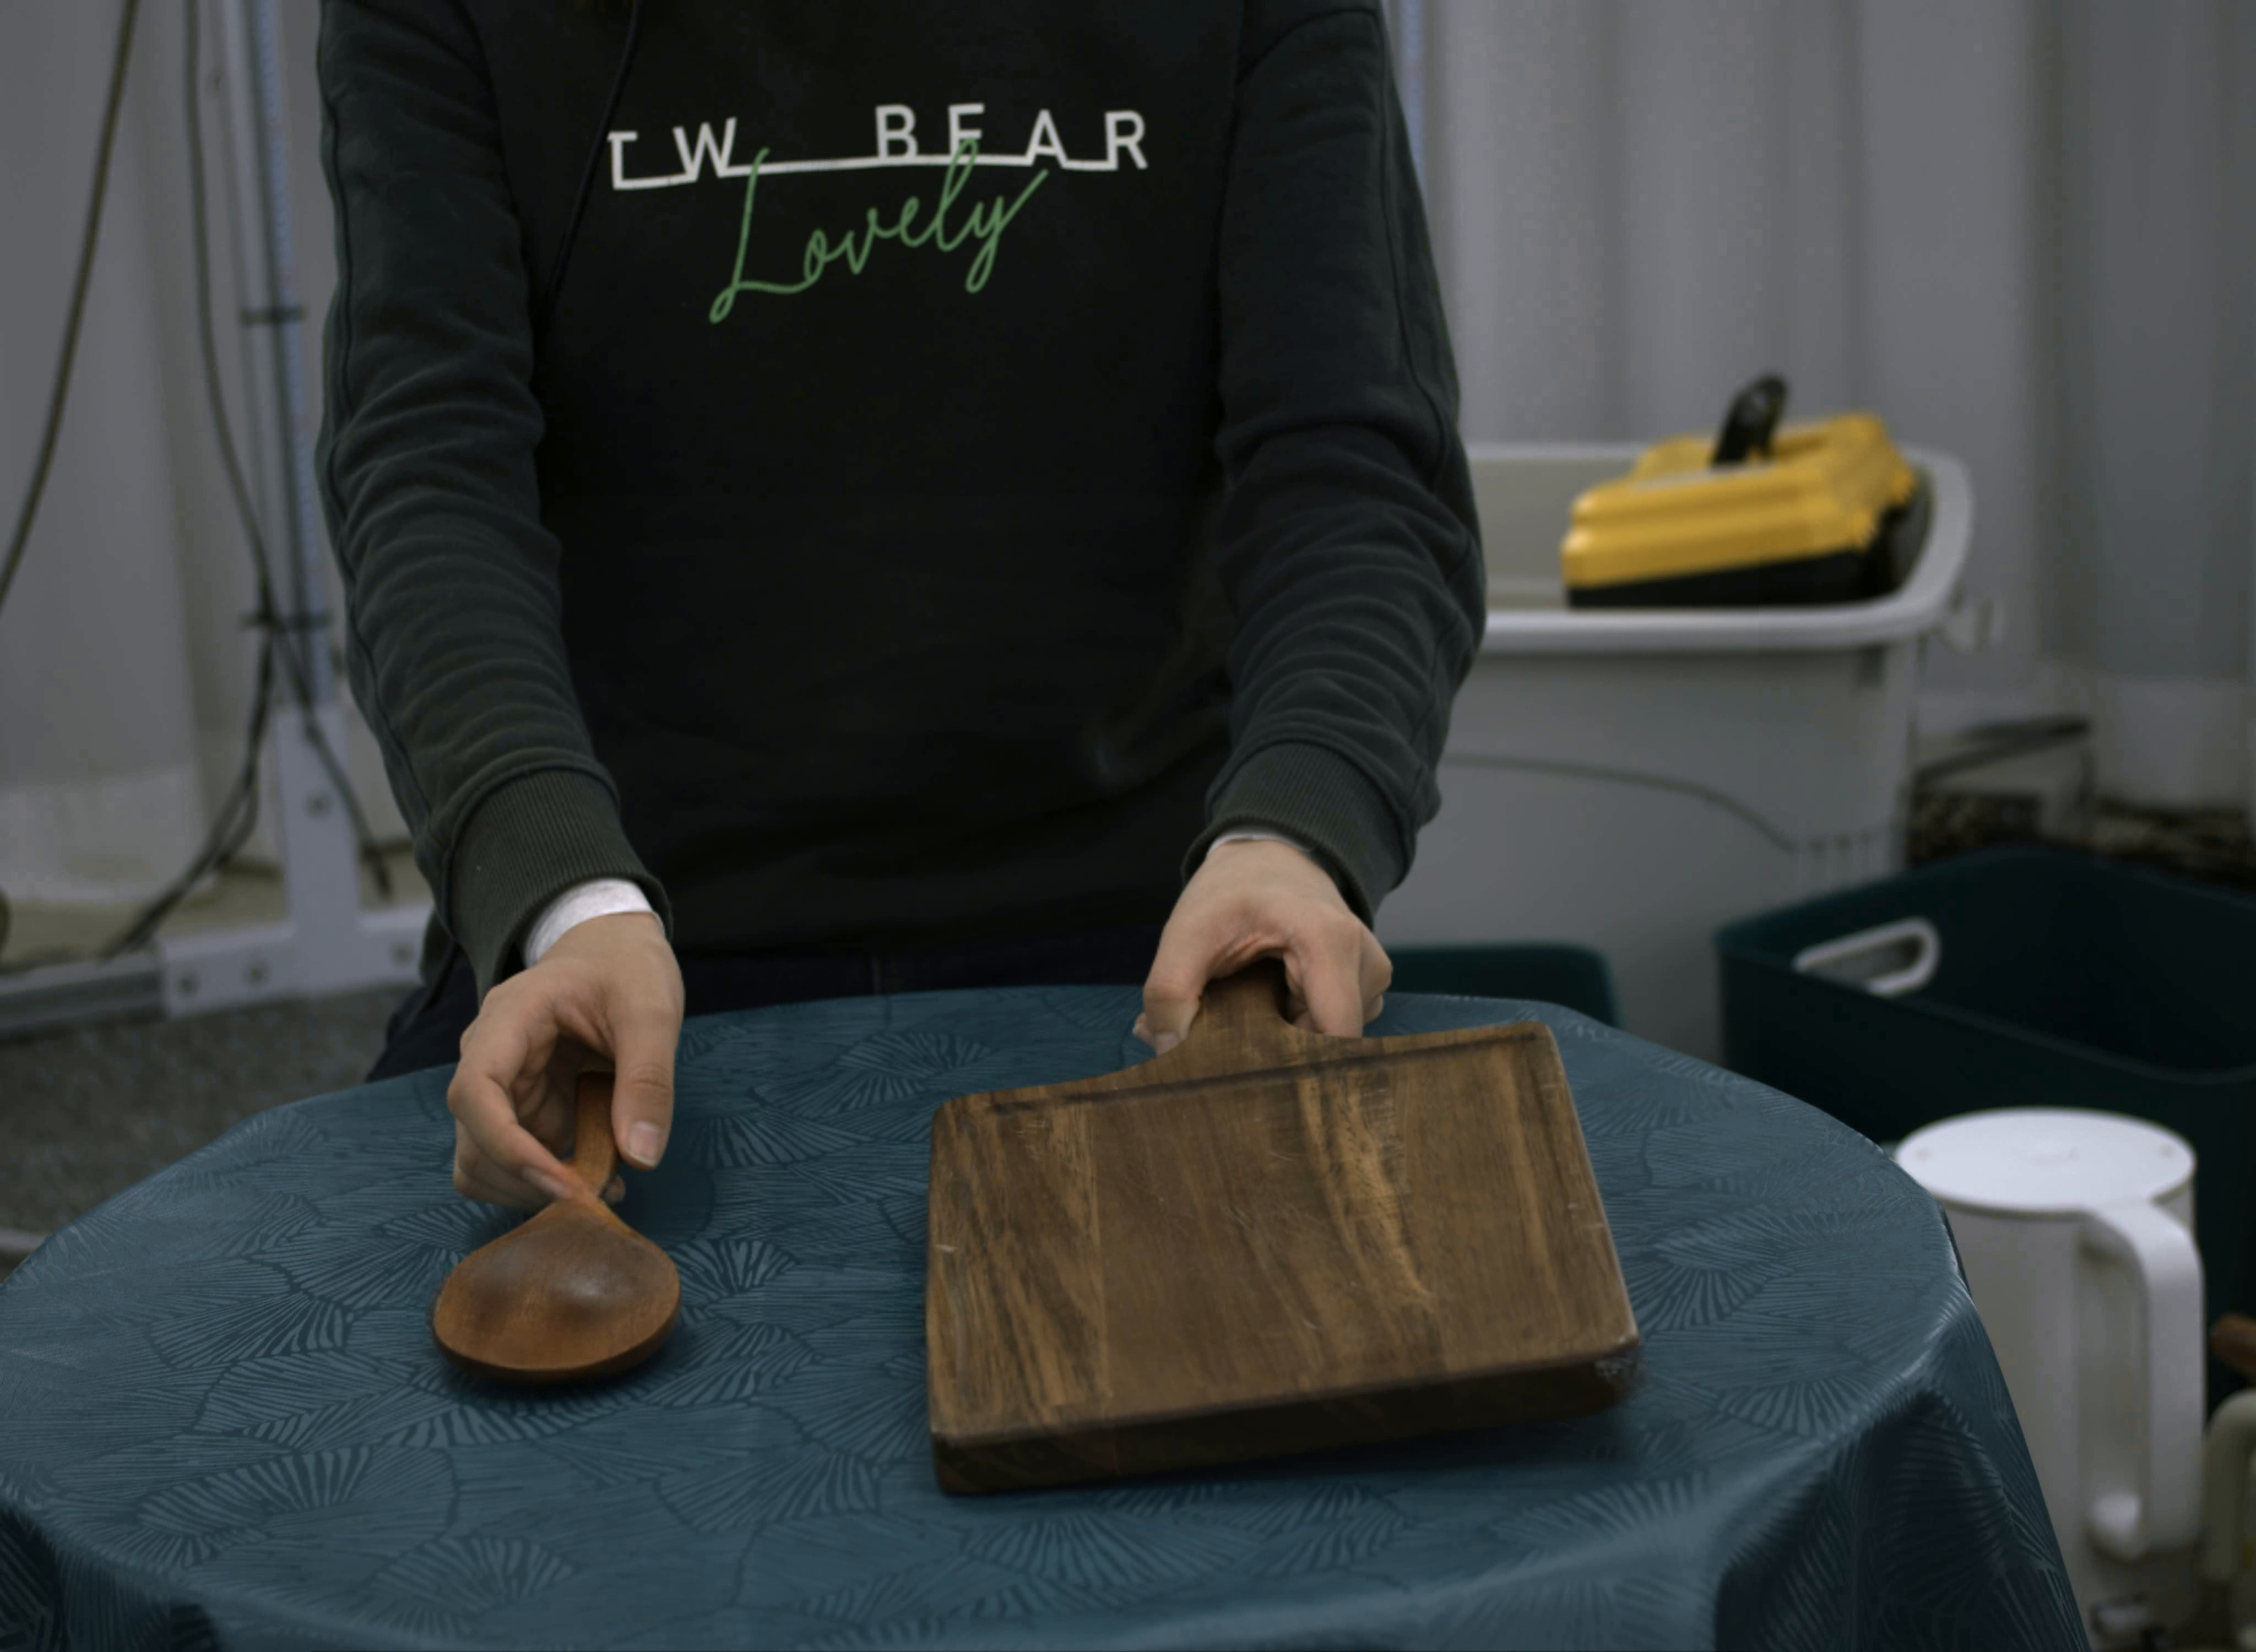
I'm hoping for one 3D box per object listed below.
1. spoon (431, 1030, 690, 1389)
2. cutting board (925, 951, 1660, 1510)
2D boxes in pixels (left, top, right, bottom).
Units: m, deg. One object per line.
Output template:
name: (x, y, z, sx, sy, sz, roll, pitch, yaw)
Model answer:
spoon: (-0.164, 0.117, 1.656, 0.075, 0.017, 0.218, -3, 25, 3)
cutting board: (0.039, 0.106, 1.633, 0.200, 0.023, 0.355, -9, 18, 1)
